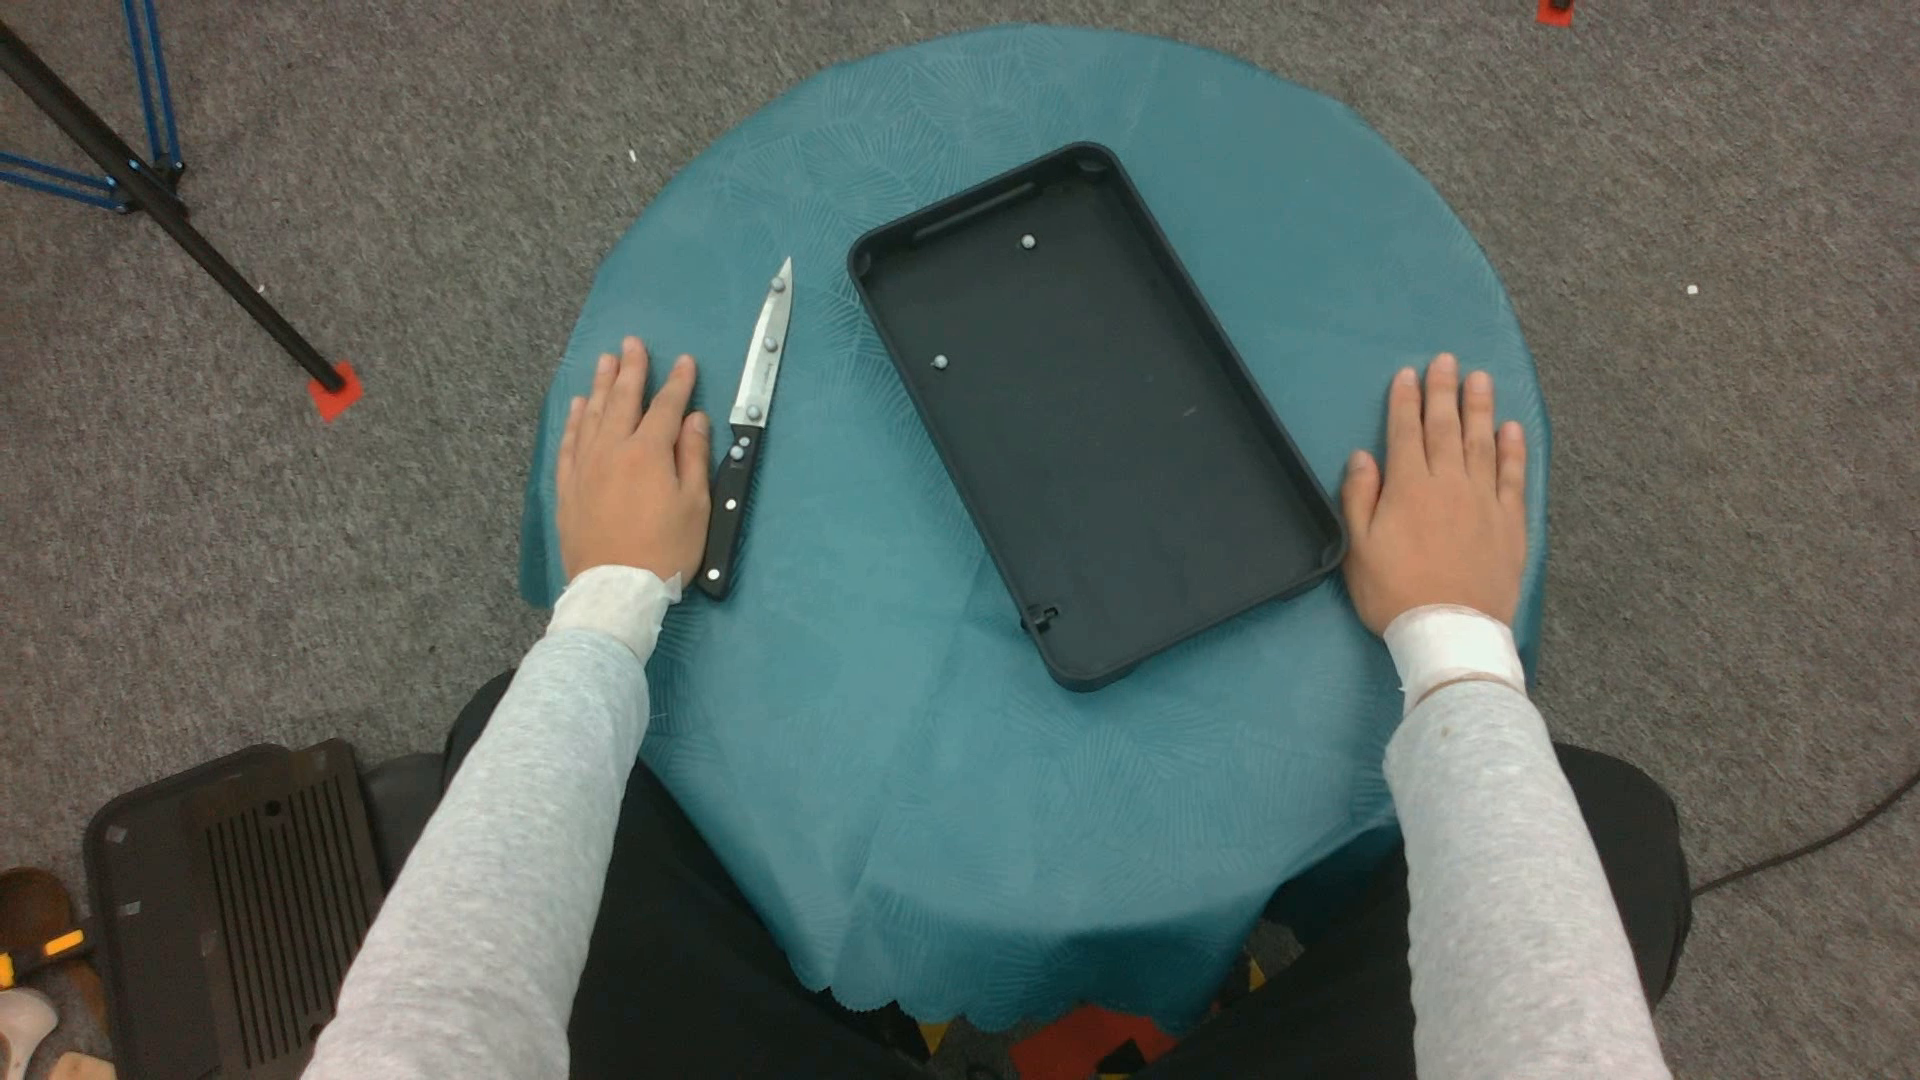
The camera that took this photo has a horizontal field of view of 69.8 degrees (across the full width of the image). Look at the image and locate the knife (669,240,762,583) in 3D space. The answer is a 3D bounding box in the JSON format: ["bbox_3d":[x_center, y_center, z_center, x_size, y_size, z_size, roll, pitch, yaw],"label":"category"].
[{"bbox_3d":[-0.142,-0.084,0.832,0.024,0.016,0.239,6,66,4],"label":"knife"}]

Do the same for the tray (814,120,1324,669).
[{"bbox_3d":[0.057,-0.094,0.812,0.184,0.037,0.318,-26,69,-7],"label":"tray"}]
